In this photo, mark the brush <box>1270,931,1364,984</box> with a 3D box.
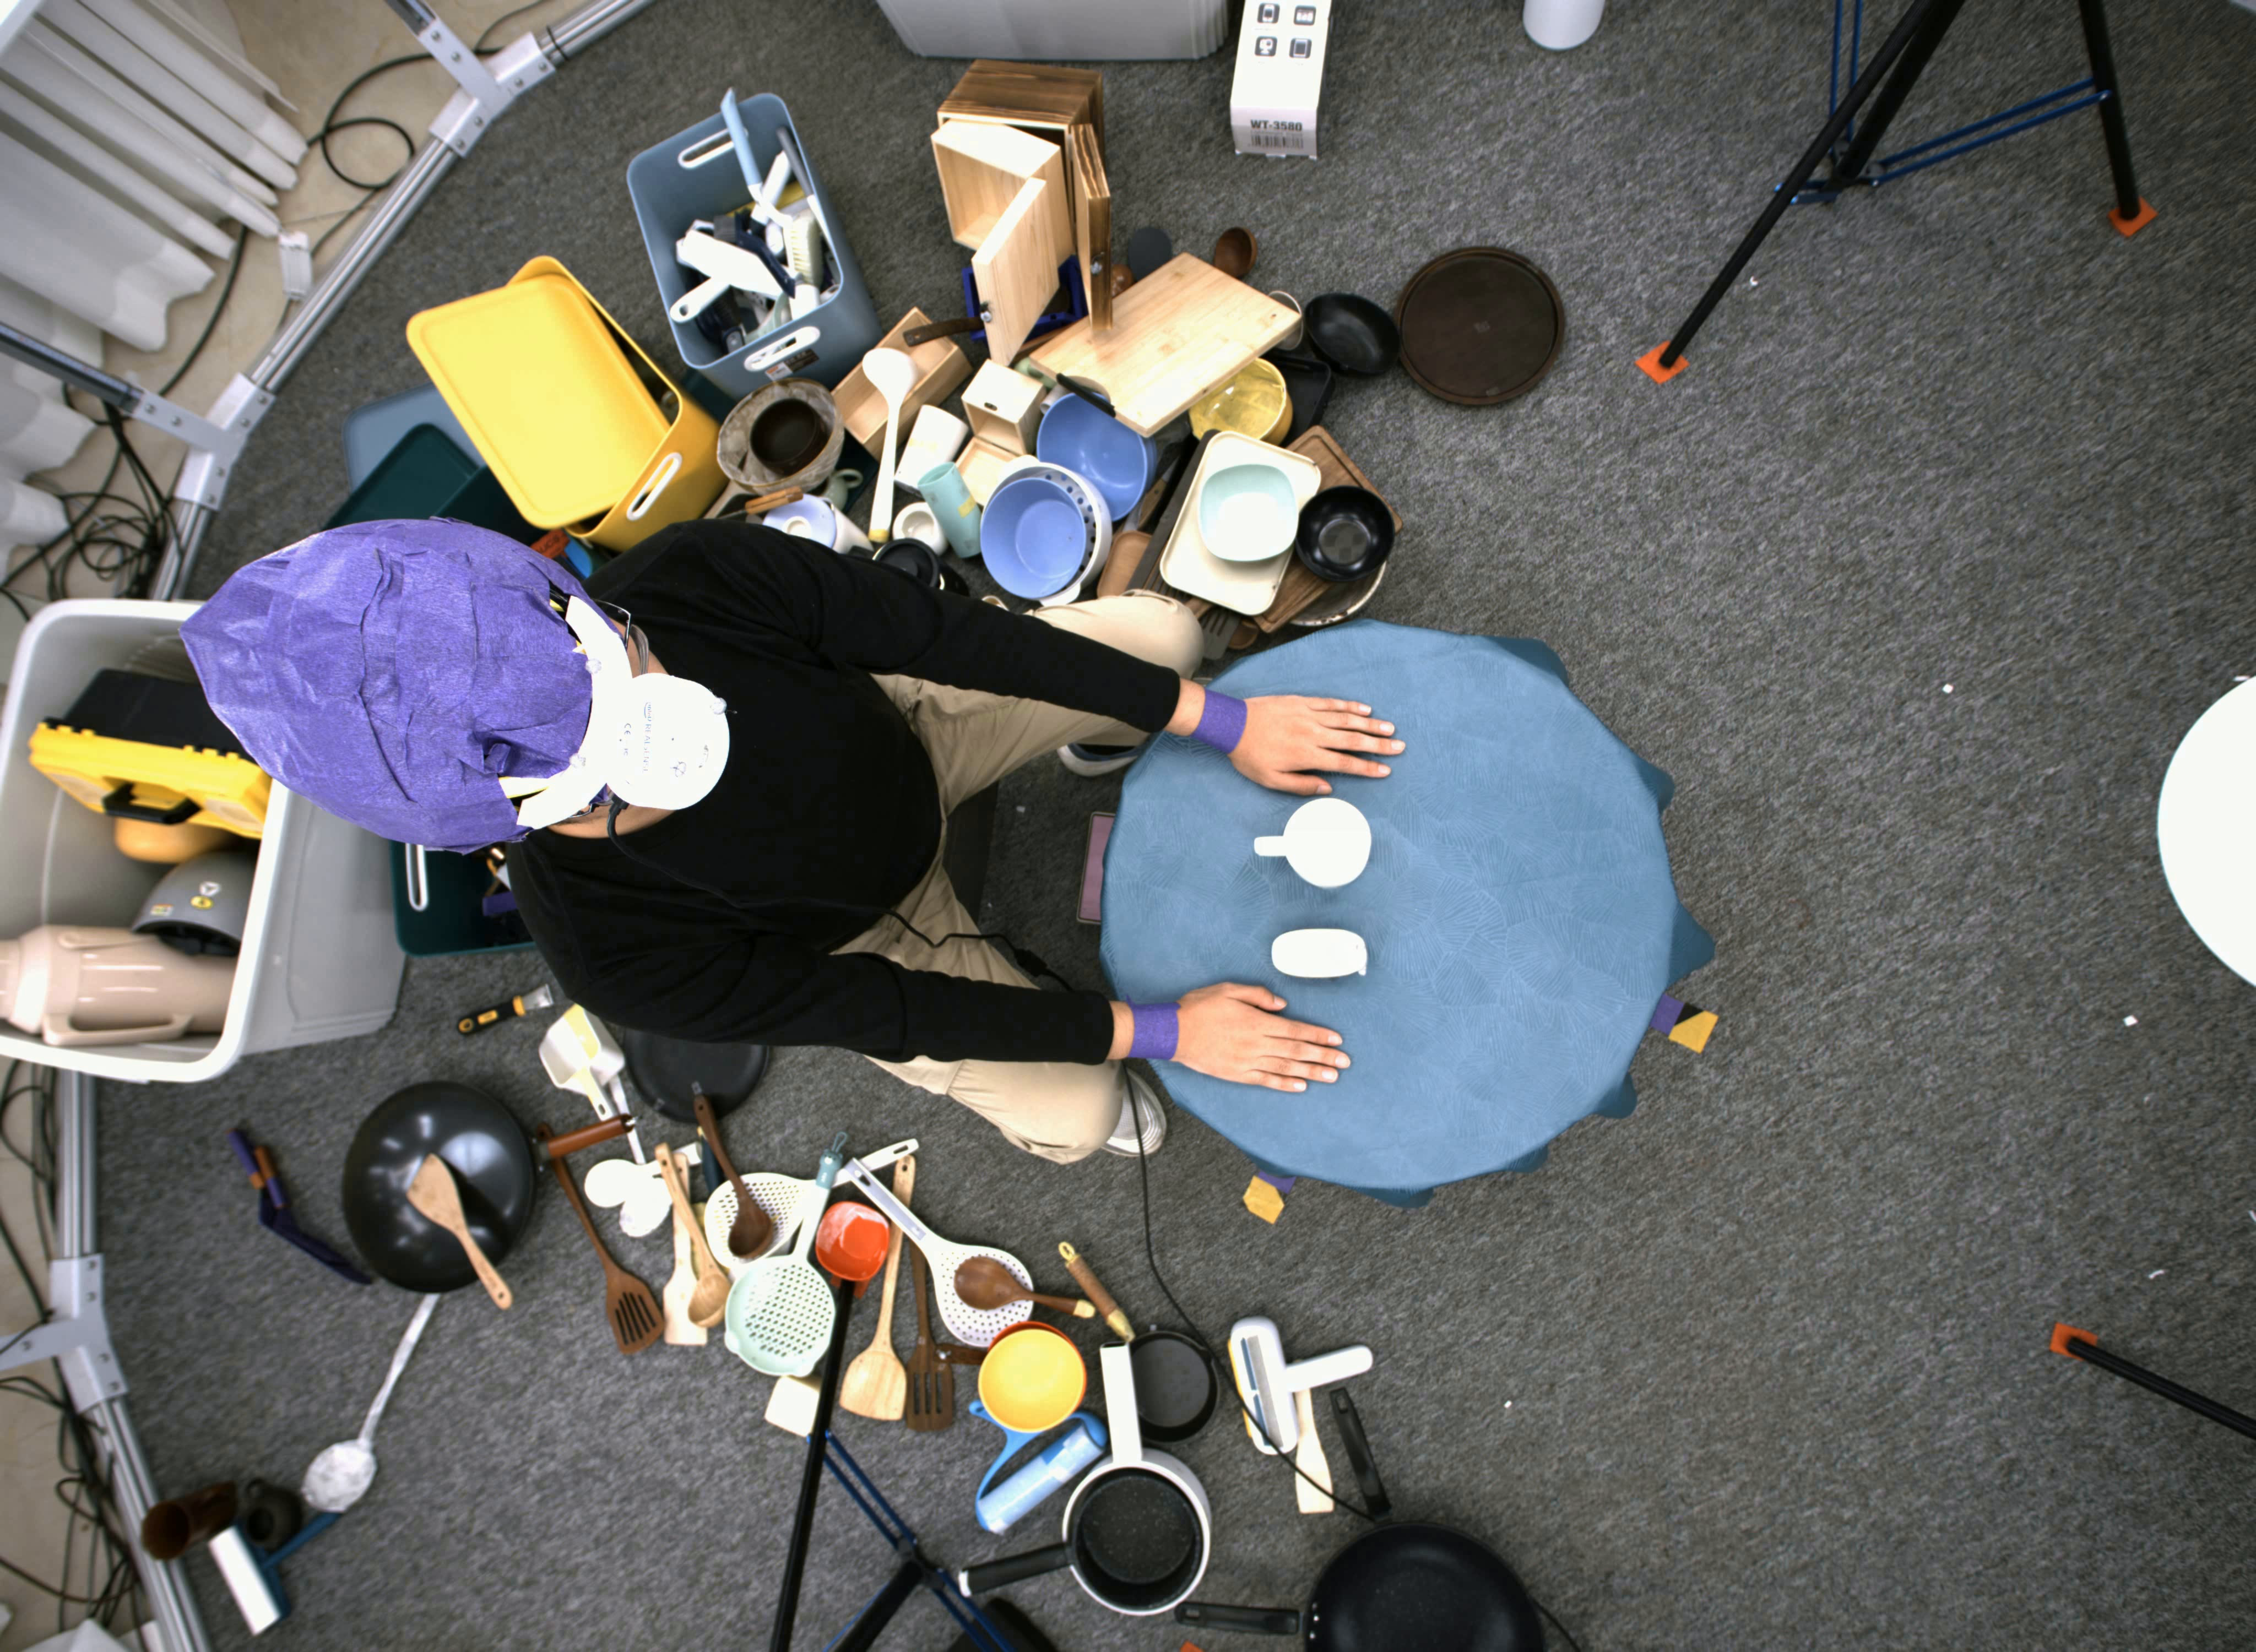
[{"bbox_3d":[0.196,0.133,1.432,0.099,0.073,0.050,-7,80,6],"label":"brush"}]

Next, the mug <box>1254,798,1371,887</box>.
[{"bbox_3d":[0.190,0.019,1.423,0.119,0.102,0.084,-3,85,10],"label":"mug"}]
